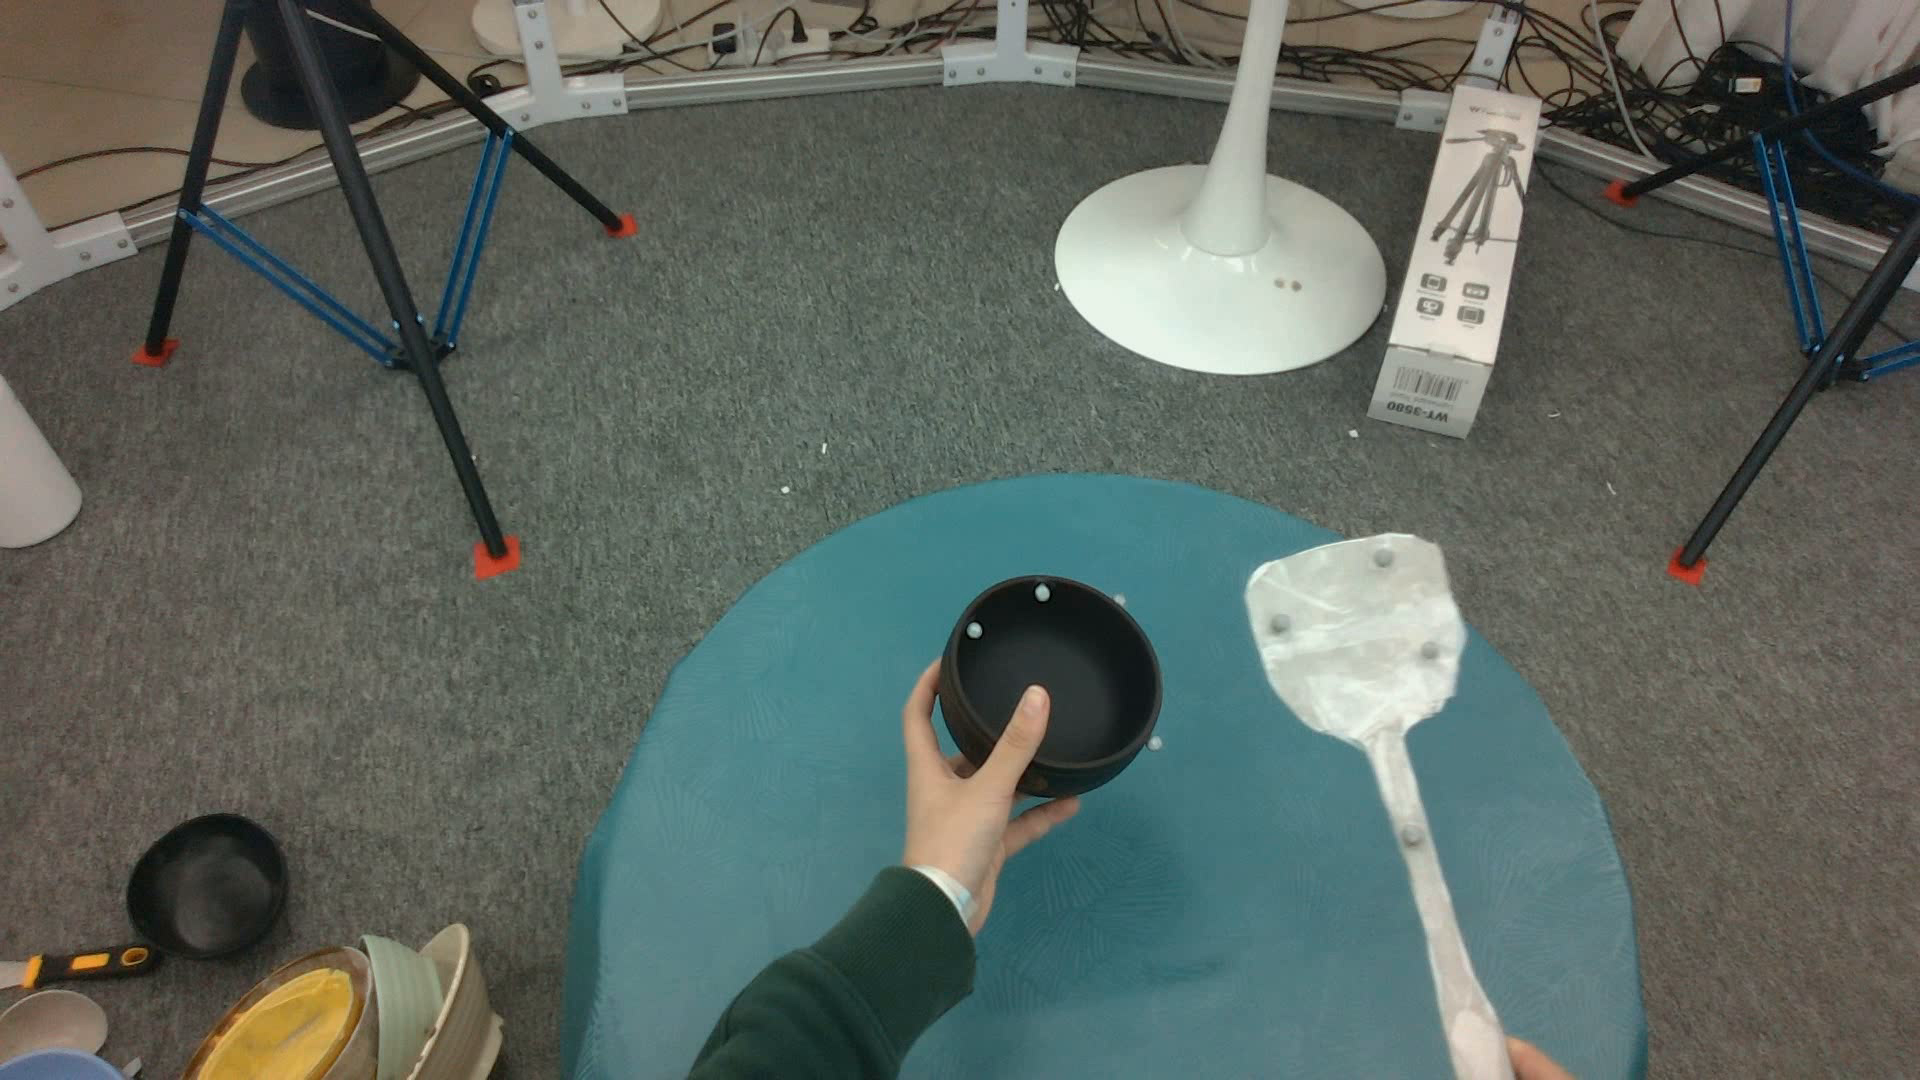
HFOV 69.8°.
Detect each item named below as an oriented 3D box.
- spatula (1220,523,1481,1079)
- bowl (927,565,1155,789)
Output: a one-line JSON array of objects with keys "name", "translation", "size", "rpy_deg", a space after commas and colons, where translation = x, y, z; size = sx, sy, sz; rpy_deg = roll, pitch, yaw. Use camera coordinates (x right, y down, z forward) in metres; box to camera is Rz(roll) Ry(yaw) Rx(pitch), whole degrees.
[{"name": "spatula", "translation": [0.190, 0.141, 0.600], "size": [0.098, 0.044, 0.366], "rpy_deg": [-11, 47, 8]}, {"name": "bowl", "translation": [0.039, 0.079, 0.737], "size": [0.118, 0.069, 0.118], "rpy_deg": [6, 55, -9]}]
